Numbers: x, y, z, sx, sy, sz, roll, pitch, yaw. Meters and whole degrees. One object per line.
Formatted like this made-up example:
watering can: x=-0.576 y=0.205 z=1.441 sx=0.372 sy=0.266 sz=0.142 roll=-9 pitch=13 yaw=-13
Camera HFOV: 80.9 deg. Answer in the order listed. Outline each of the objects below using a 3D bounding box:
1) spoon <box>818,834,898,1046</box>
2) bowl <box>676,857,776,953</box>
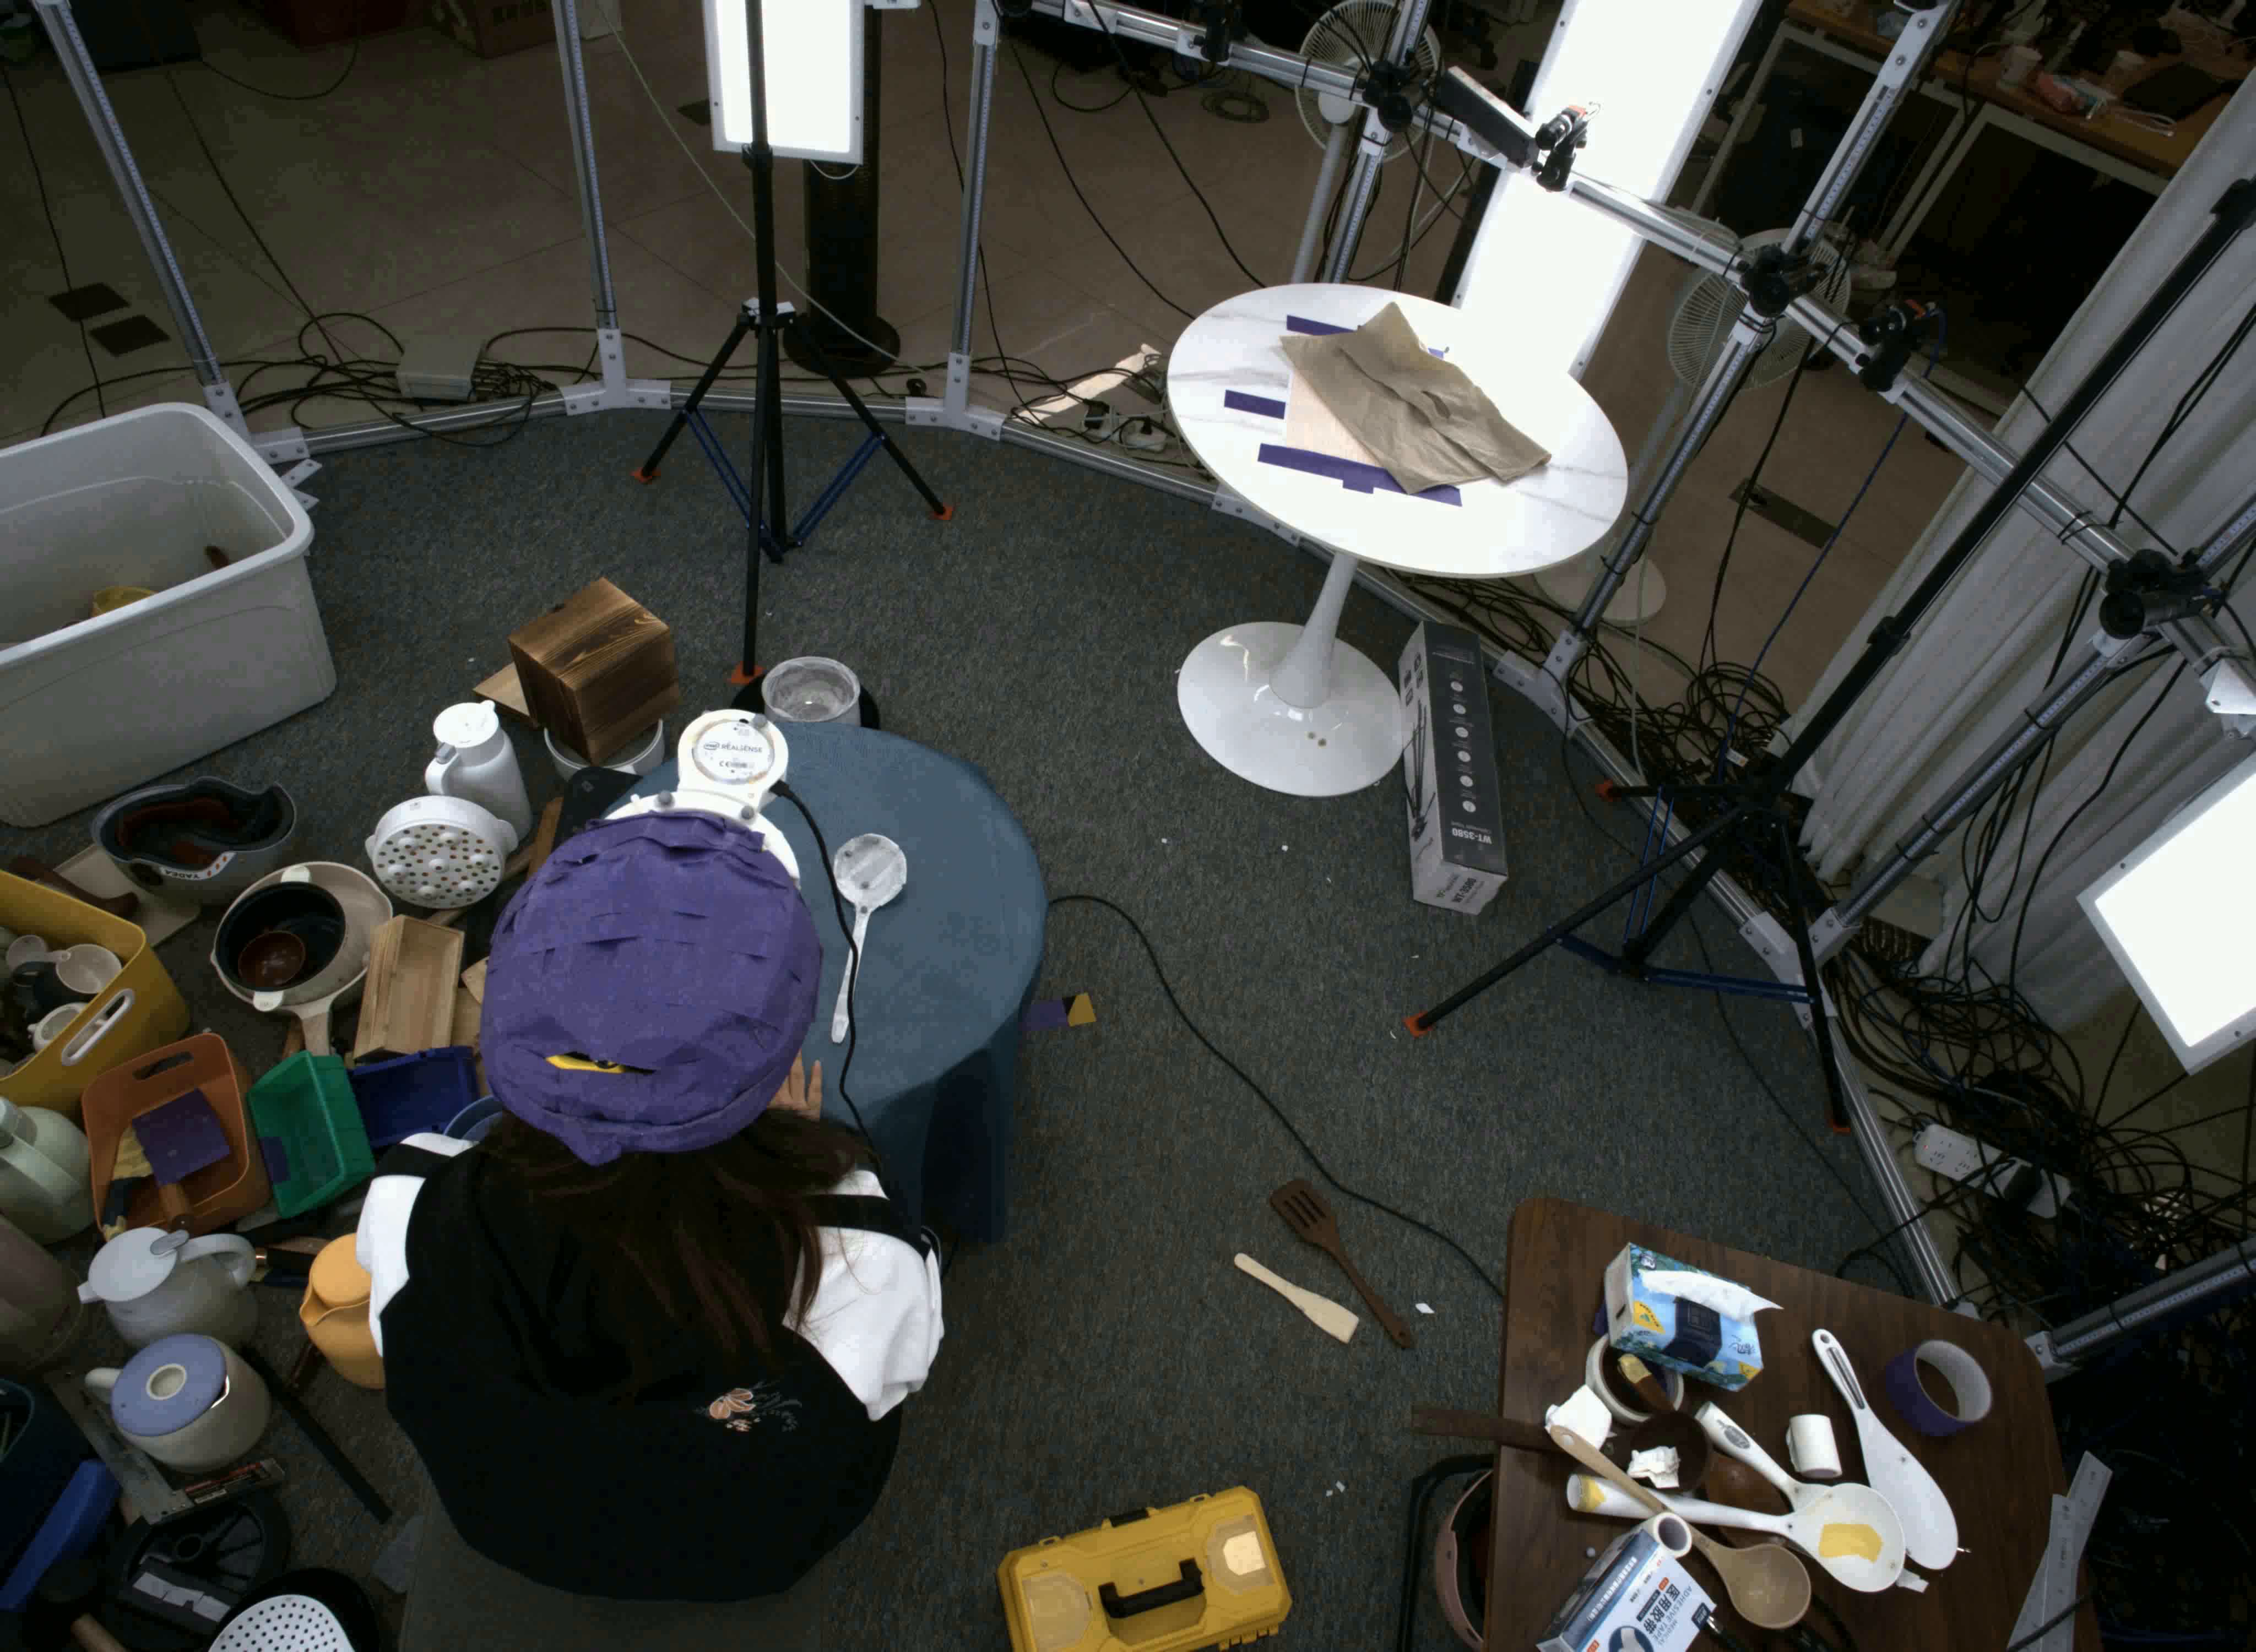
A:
spoon: x=-0.352 y=0.133 z=1.601 sx=0.100 sy=0.061 sz=0.273 roll=8 pitch=52 yaw=-3
bowl: x=-0.490 y=0.102 z=1.578 sx=0.118 sy=0.071 sz=0.116 roll=7 pitch=52 yaw=-8
